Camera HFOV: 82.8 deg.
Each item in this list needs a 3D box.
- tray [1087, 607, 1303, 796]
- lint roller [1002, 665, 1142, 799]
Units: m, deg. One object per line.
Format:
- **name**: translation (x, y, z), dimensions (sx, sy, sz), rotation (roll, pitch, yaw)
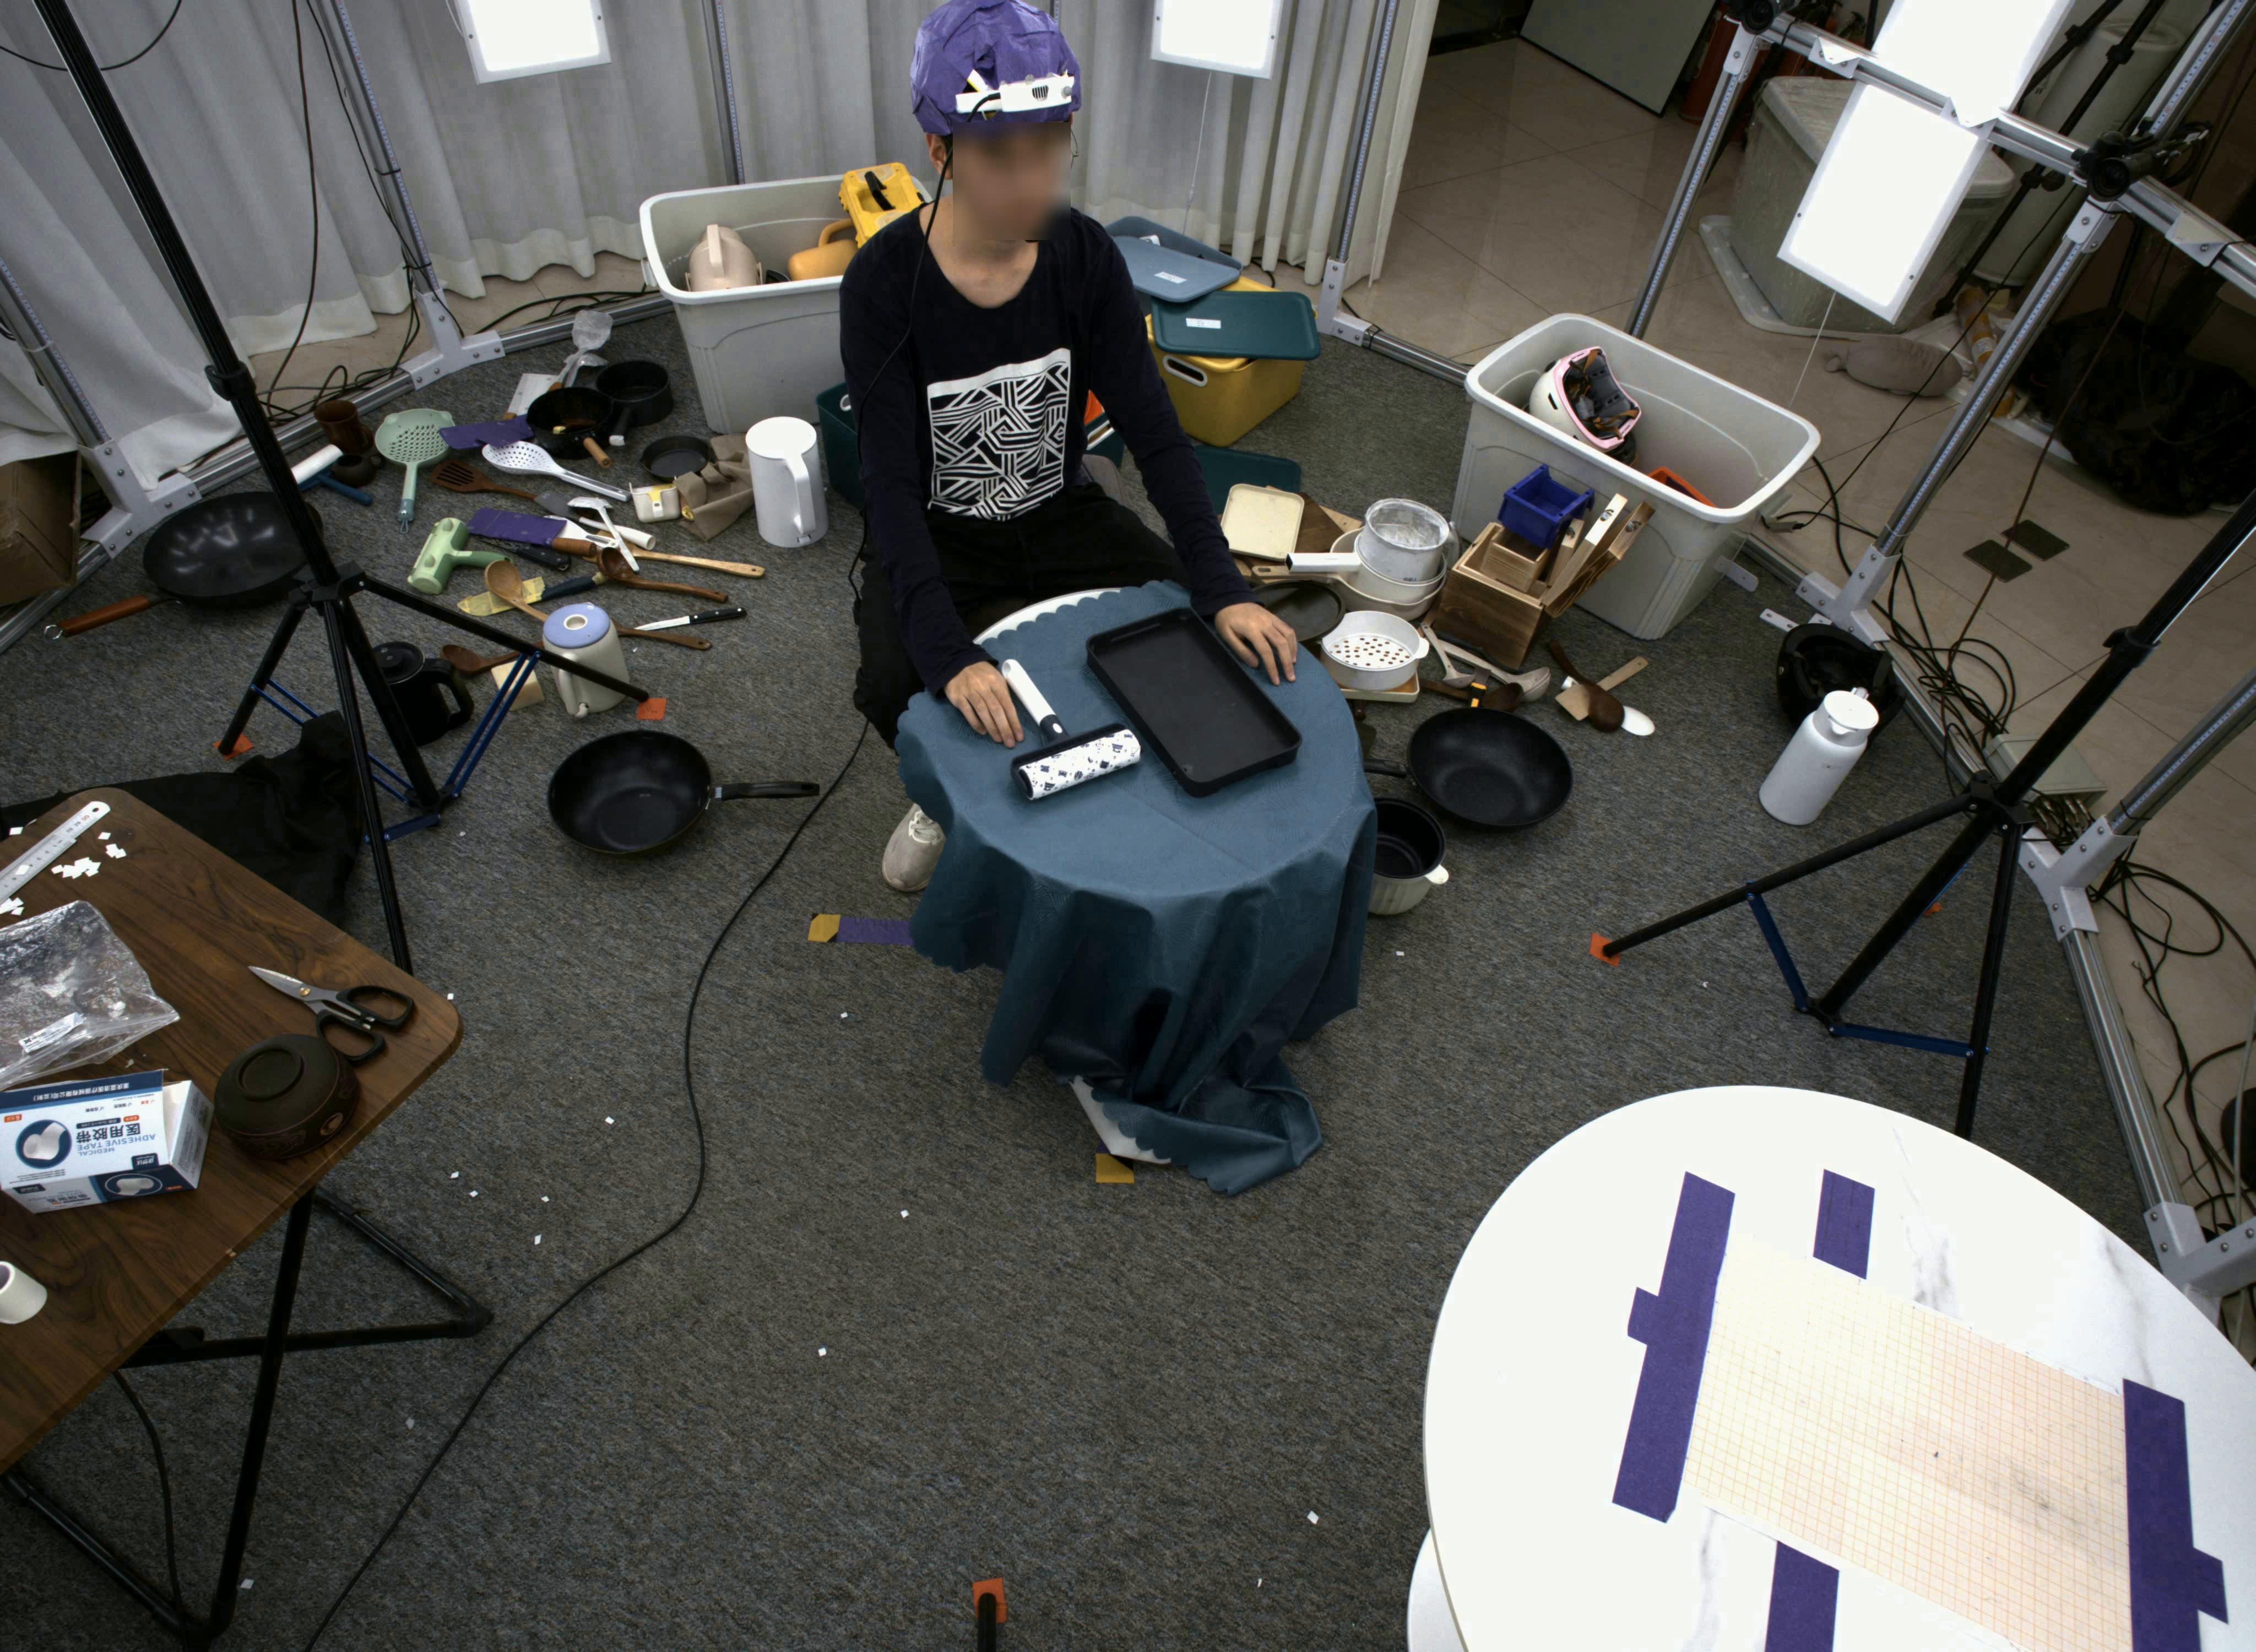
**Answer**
- **tray**: translation (0.089, -0.182, 1.808), dimensions (0.185, 0.036, 0.325), rotation (-20, 53, -21)
- **lint roller**: translation (-0.115, -0.149, 1.764), dimensions (0.177, 0.049, 0.252), rotation (-22, 51, -20)
